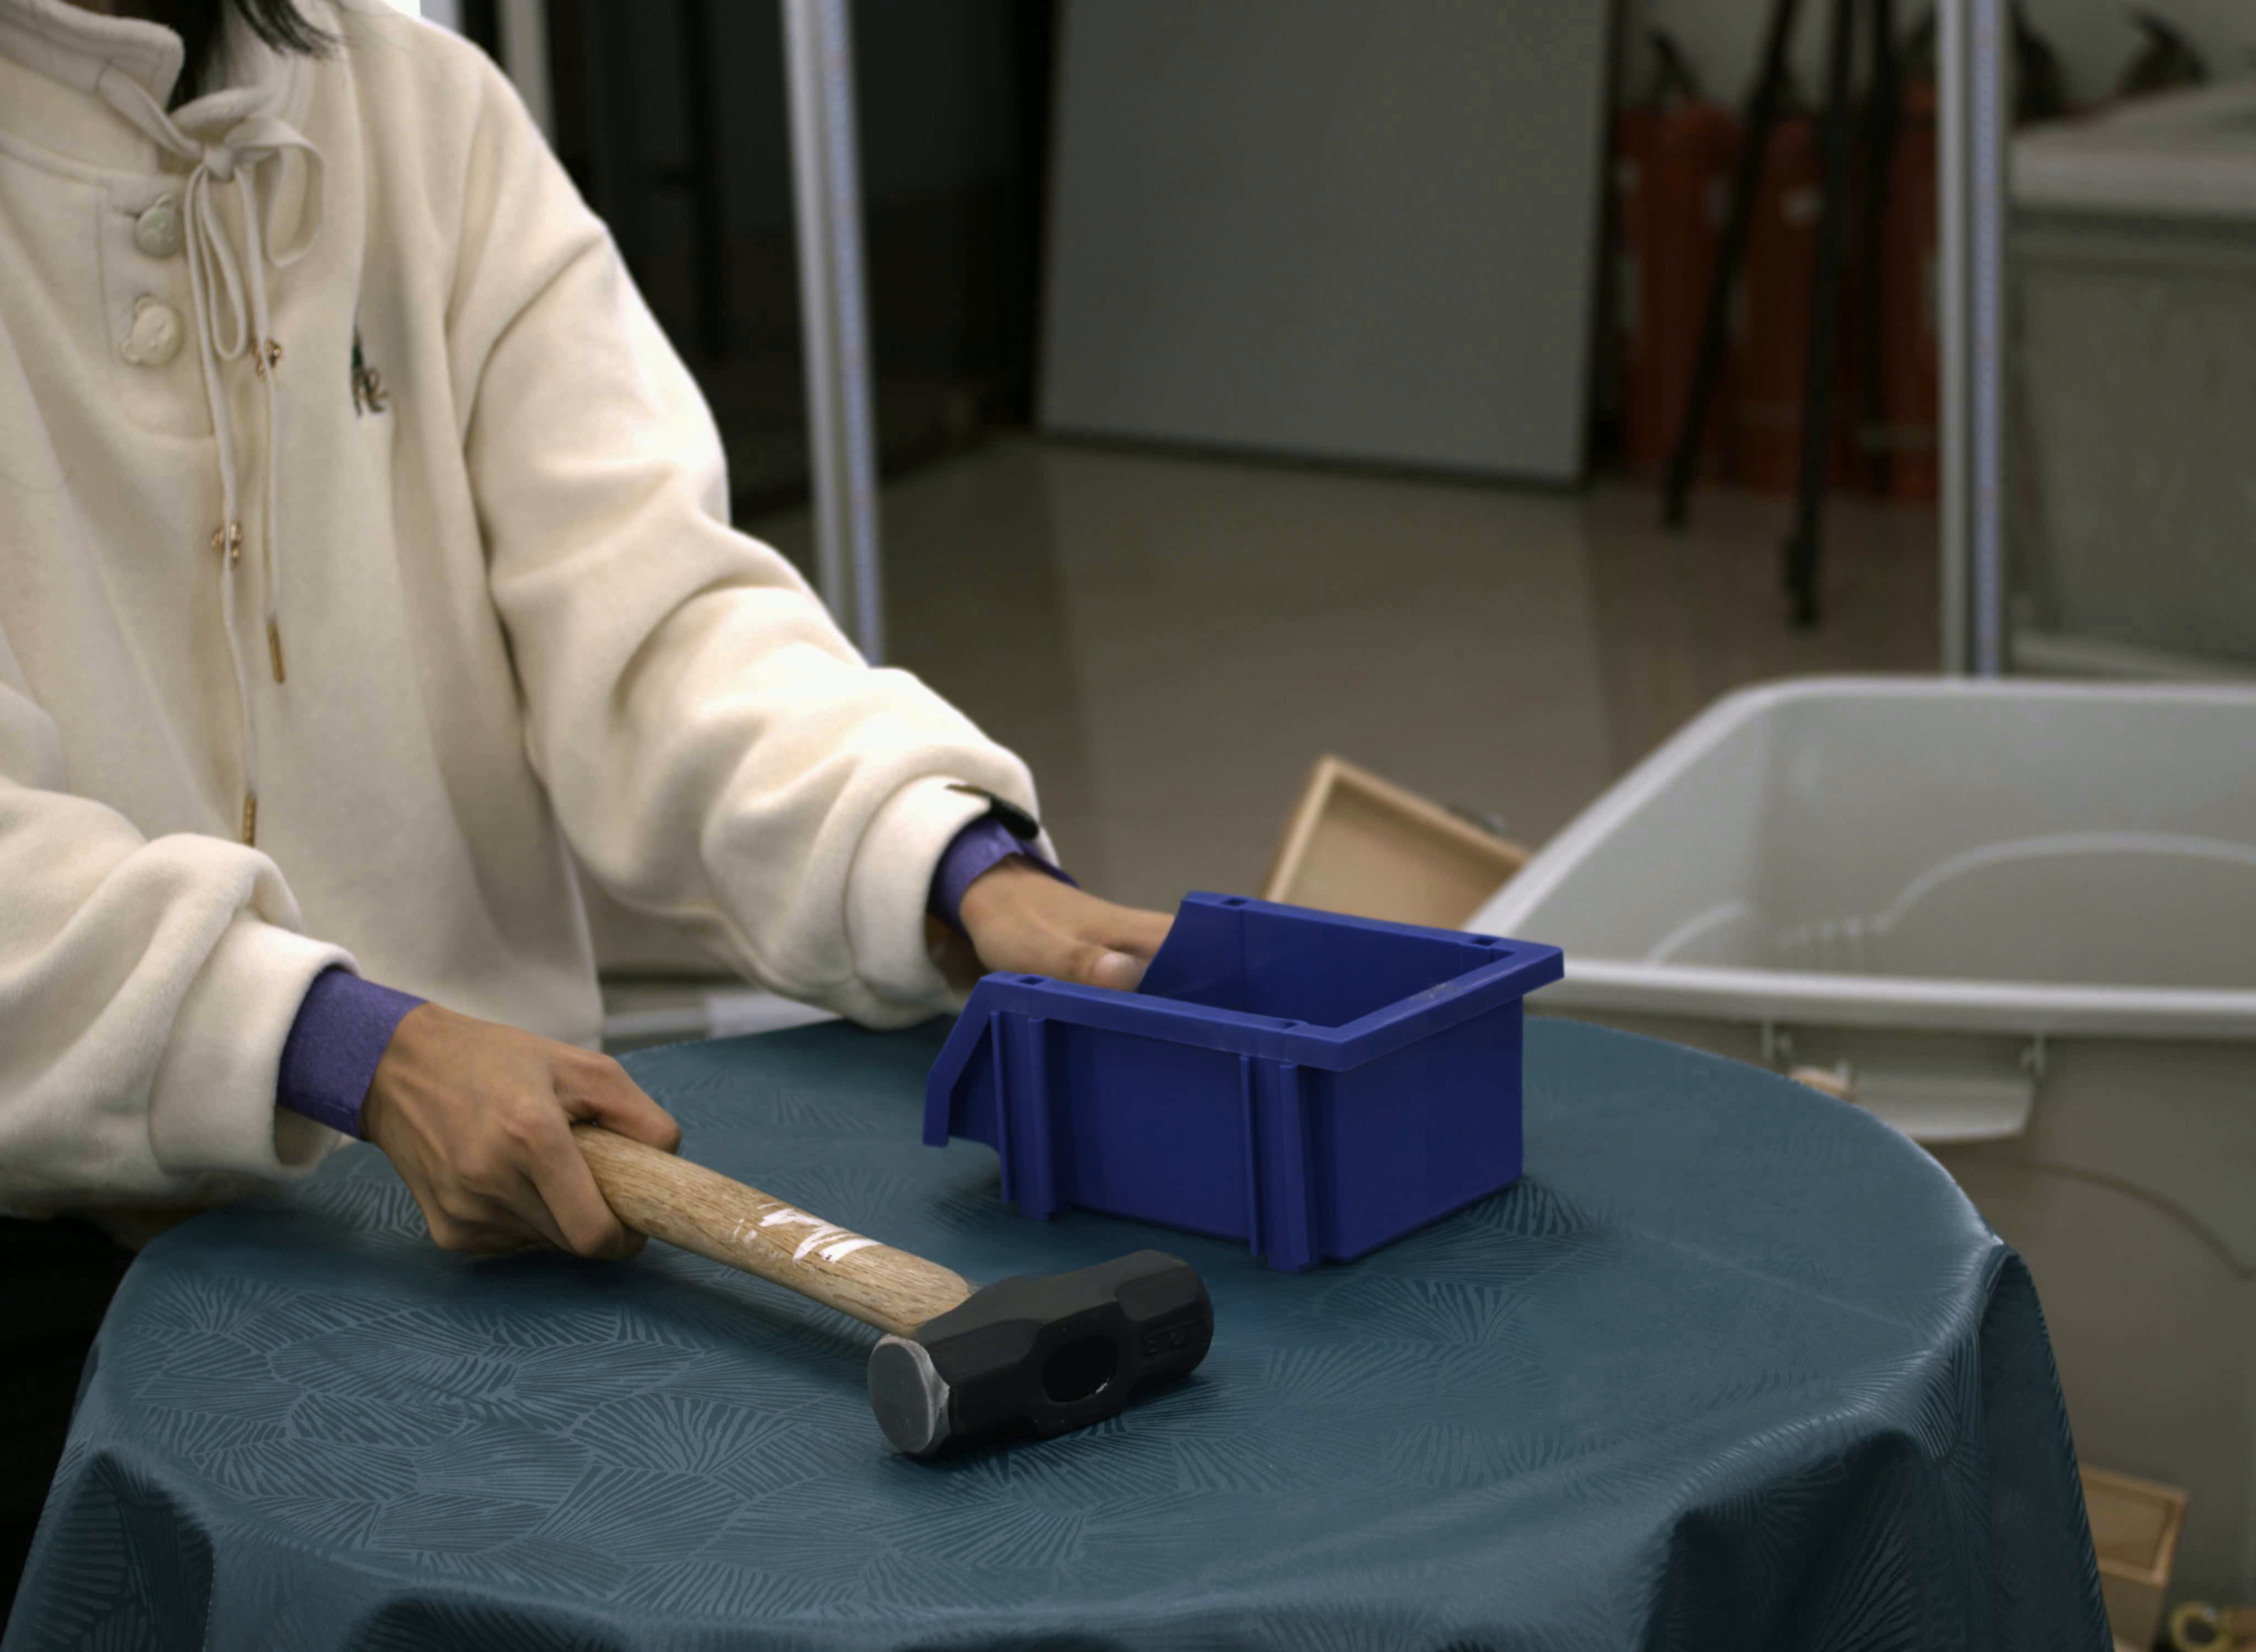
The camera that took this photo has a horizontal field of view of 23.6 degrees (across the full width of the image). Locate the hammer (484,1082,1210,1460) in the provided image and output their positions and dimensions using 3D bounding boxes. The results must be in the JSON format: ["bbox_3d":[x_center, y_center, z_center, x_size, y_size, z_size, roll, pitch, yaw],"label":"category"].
[{"bbox_3d":[-0.108,0.127,1.669,0.105,0.039,0.308,-13,19,-35],"label":"hammer"}]

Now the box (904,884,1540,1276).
[{"bbox_3d":[0.029,0.080,1.760,0.181,0.083,0.122,11,20,40],"label":"box"}]
